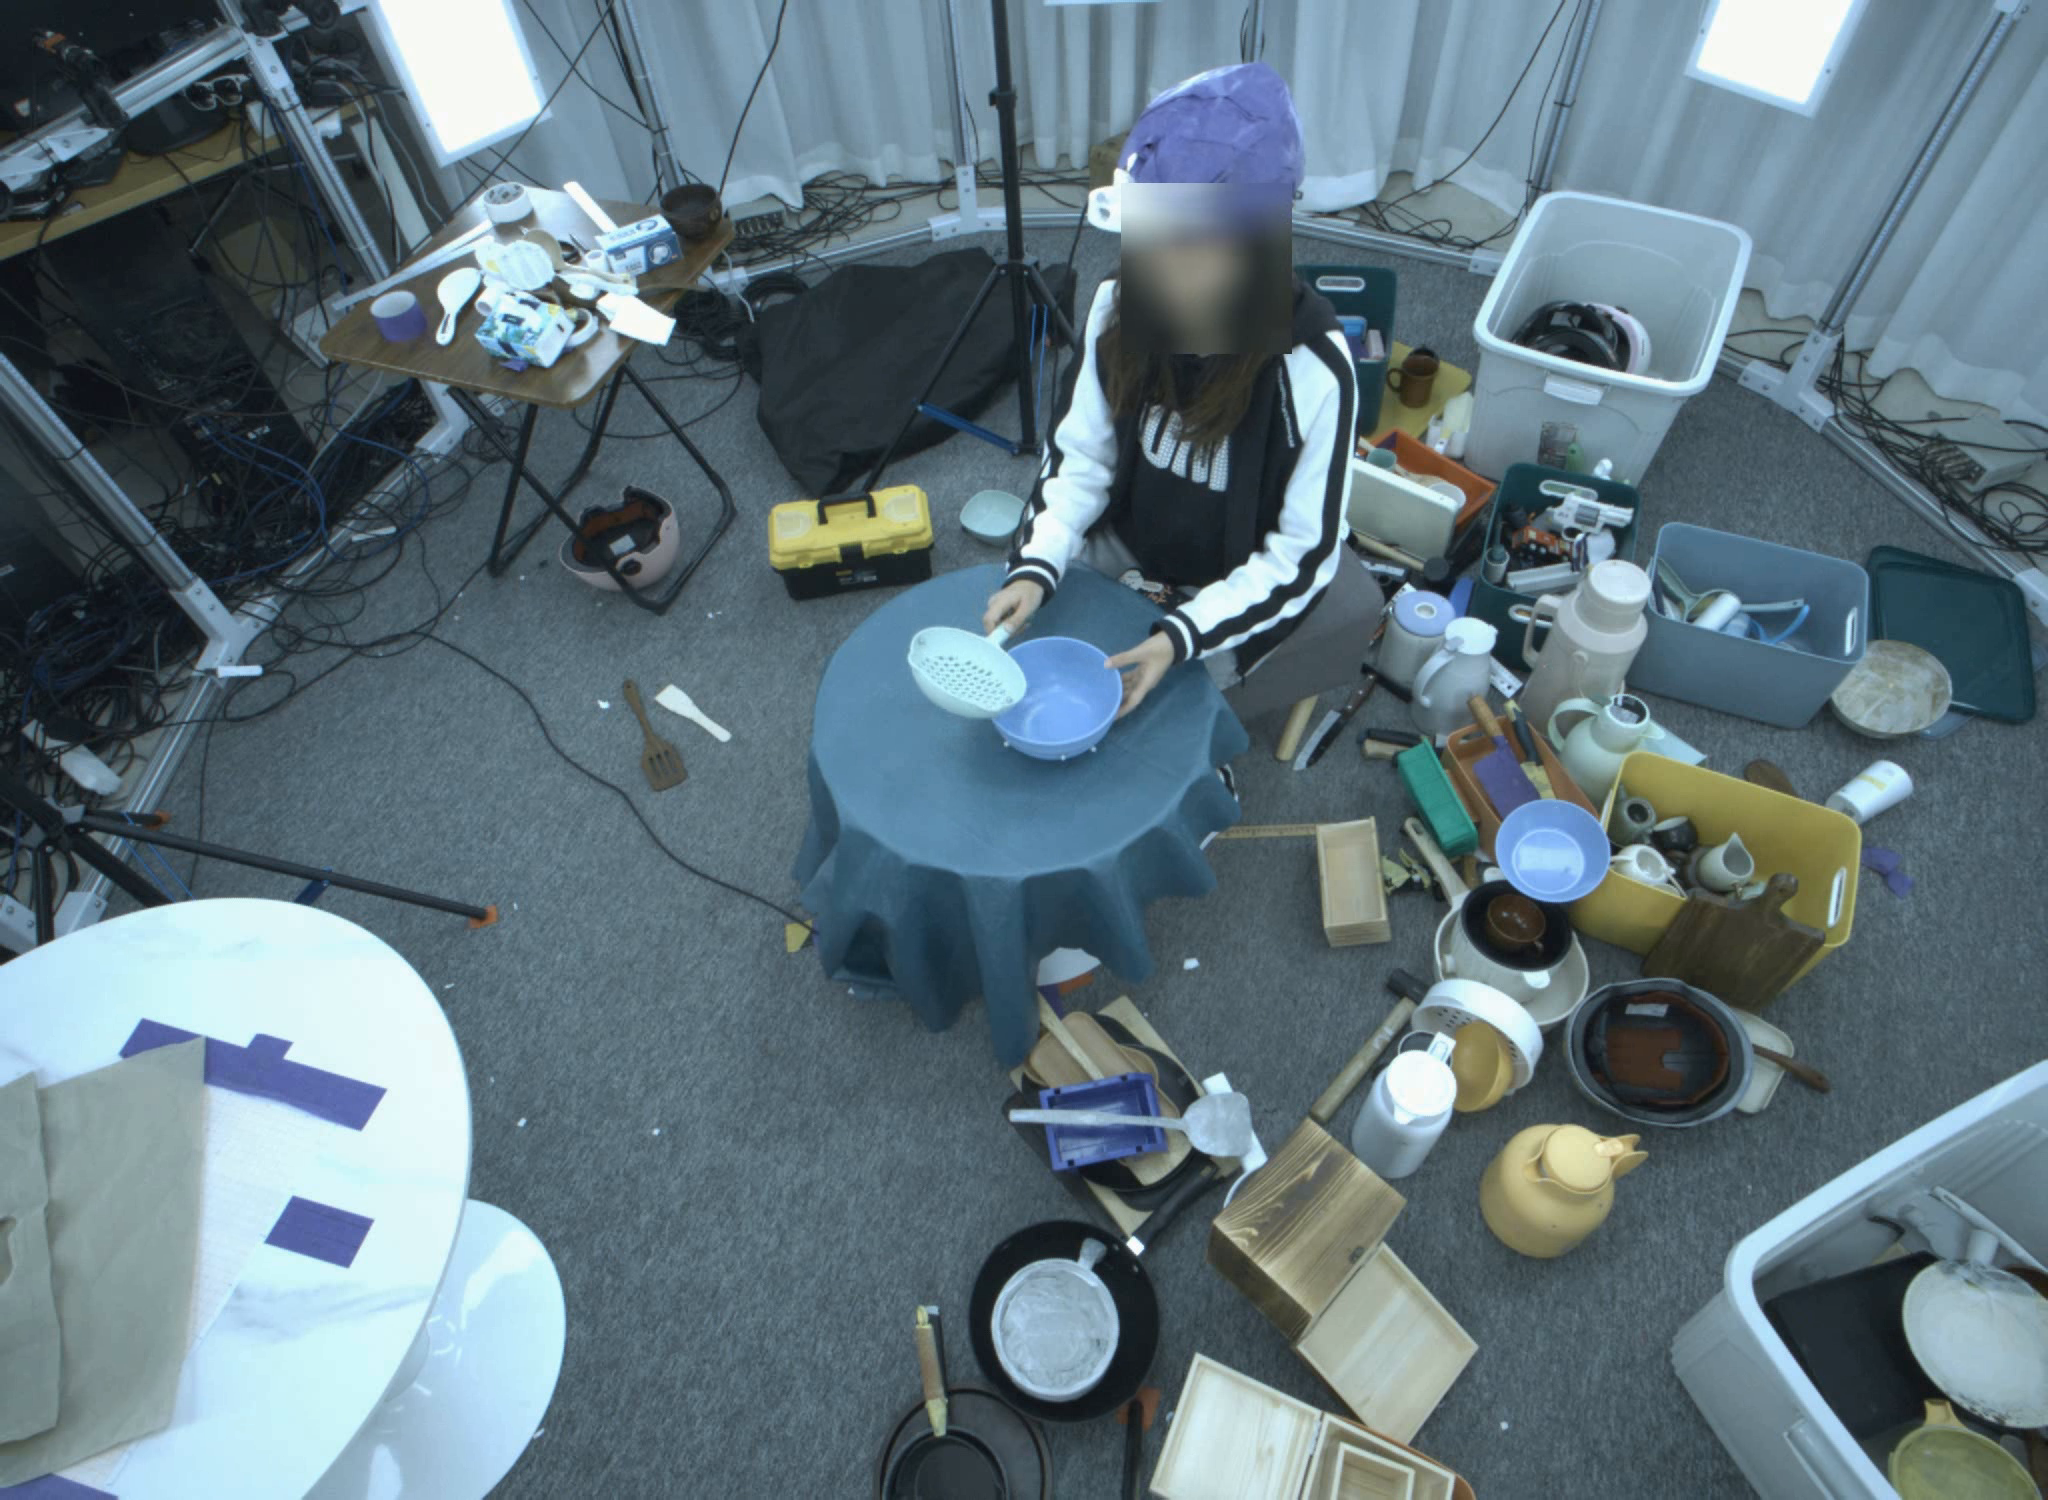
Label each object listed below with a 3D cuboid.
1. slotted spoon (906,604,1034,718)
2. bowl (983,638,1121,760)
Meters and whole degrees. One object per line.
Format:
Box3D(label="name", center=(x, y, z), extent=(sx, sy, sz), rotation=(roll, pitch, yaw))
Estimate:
Box3D(label="slotted spoon", center=(-0.049, -0.147, 1.754), extent=(0.169, 0.075, 0.360), rotation=(32, 40, 3))
Box3D(label="bowl", center=(0.042, -0.059, 1.770), extent=(0.196, 0.096, 0.194), rotation=(-1, 54, 2))
